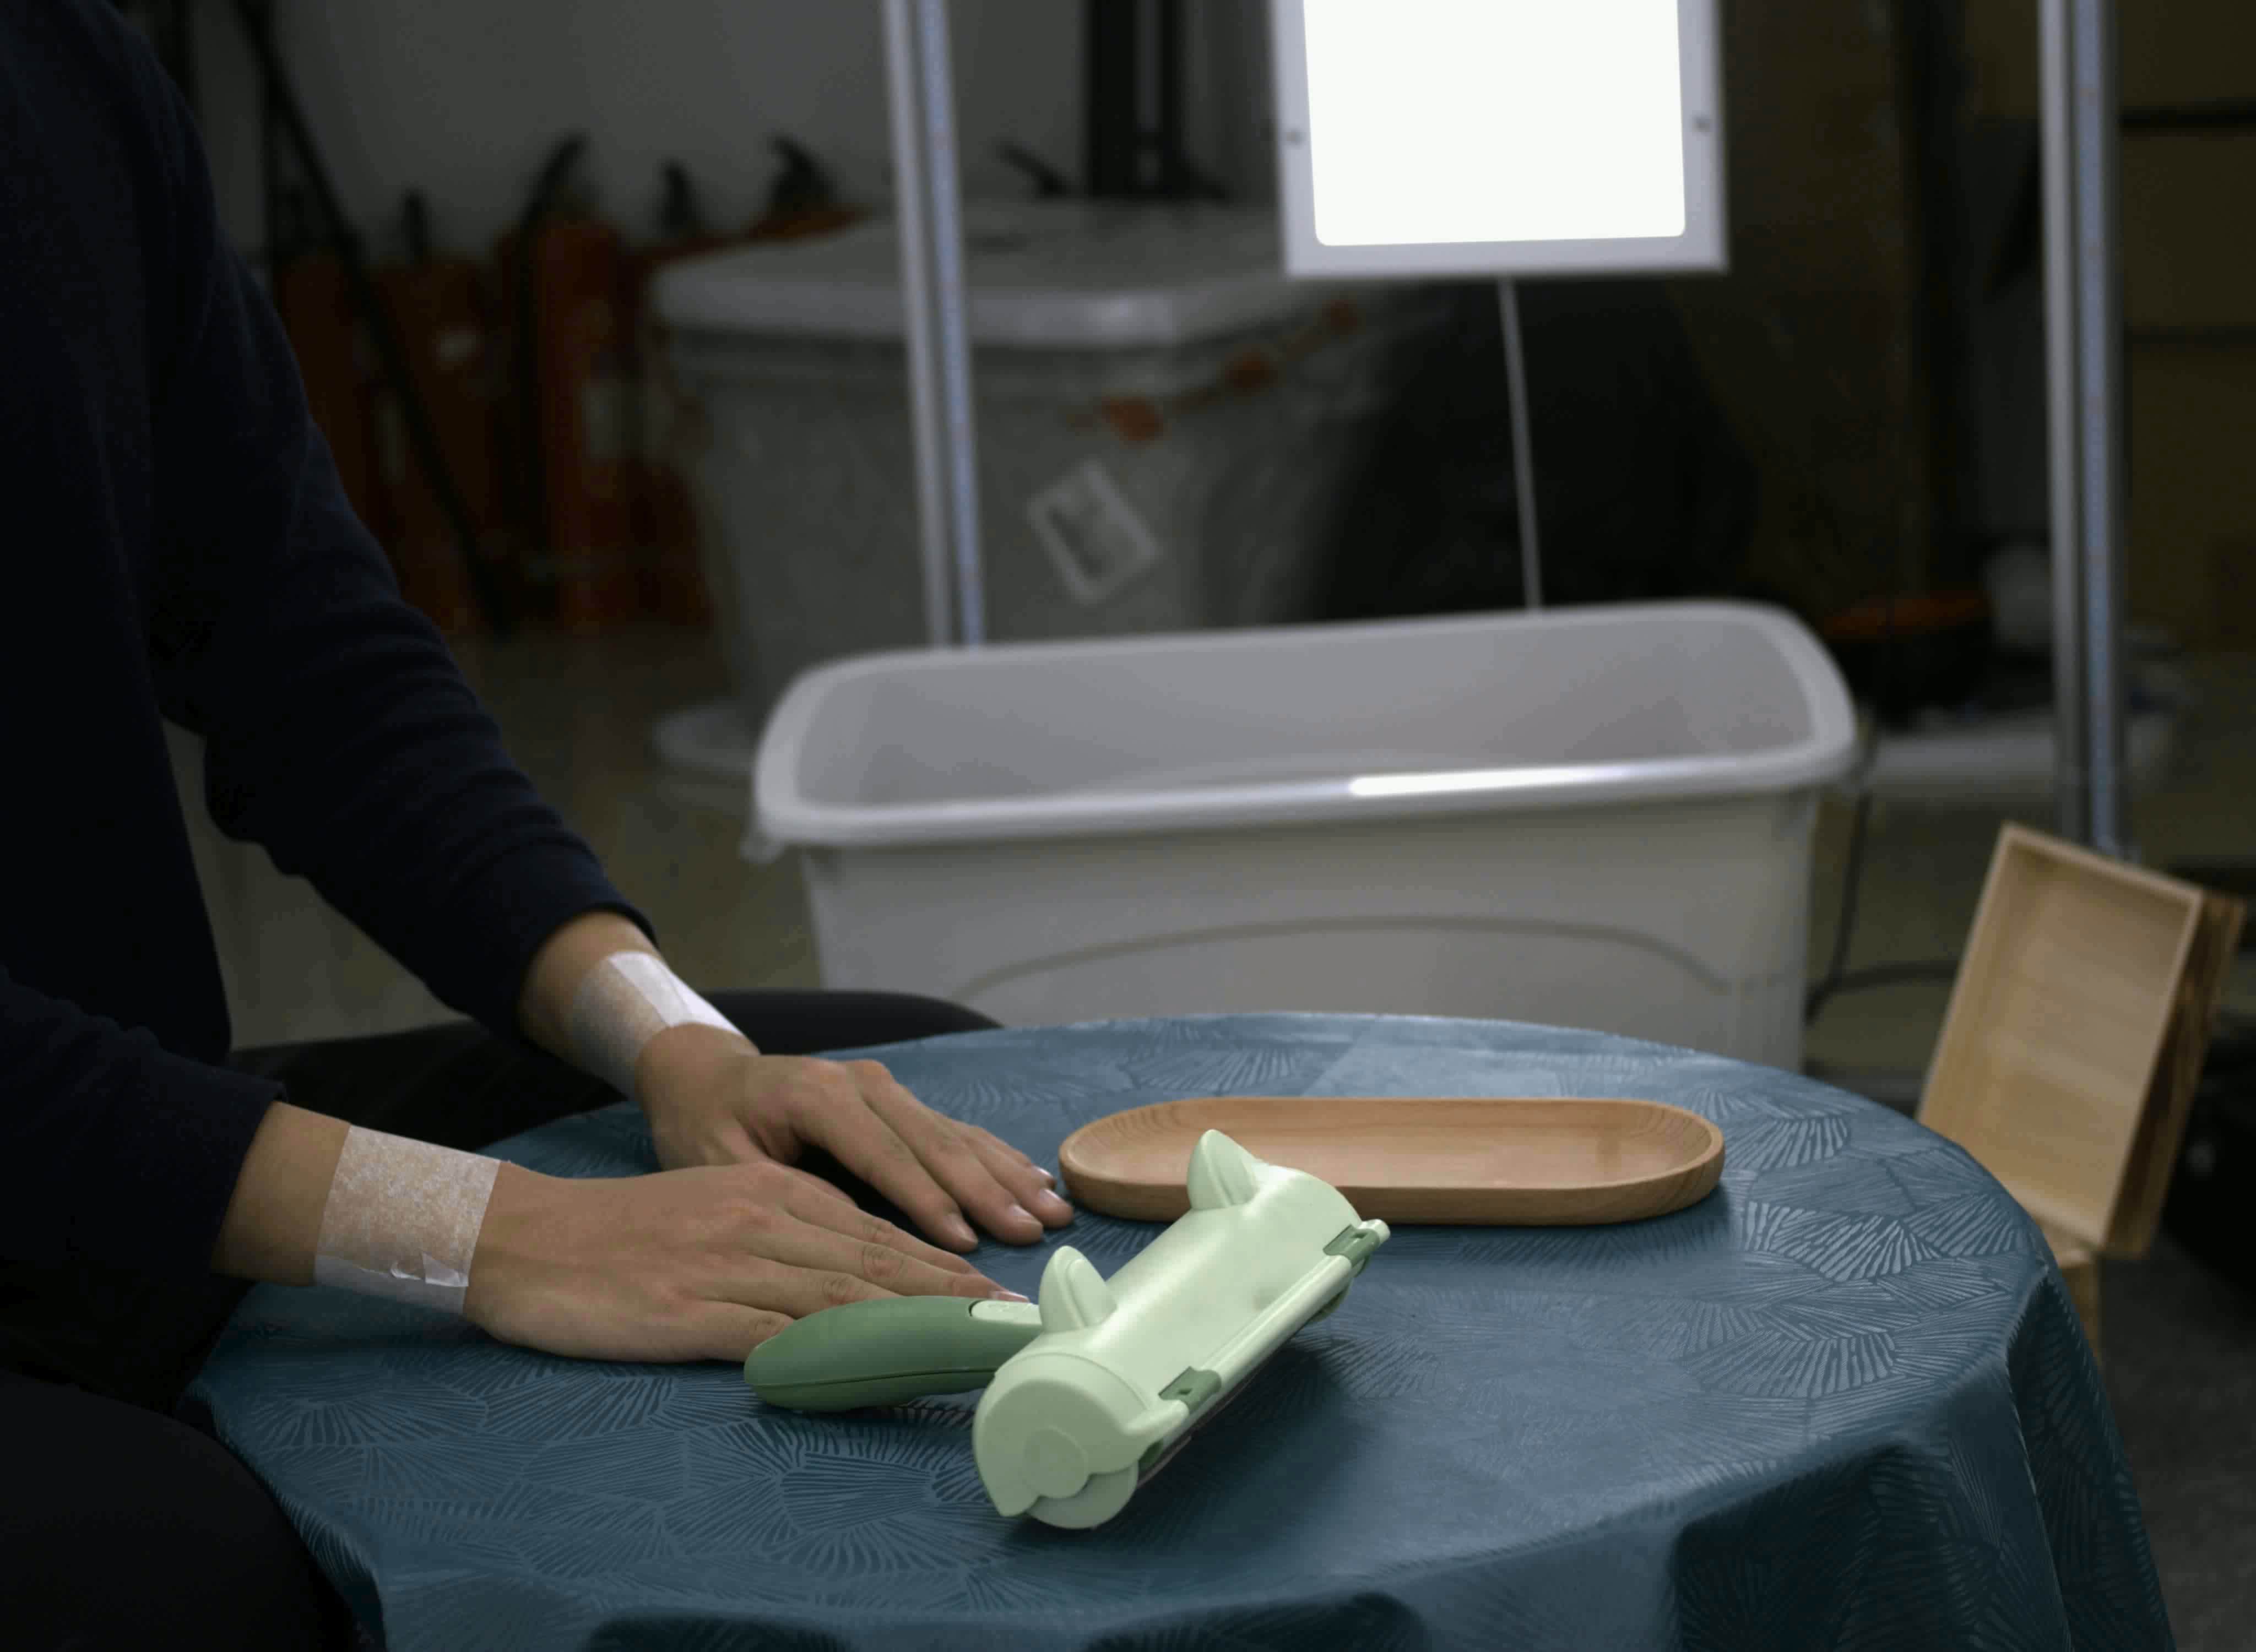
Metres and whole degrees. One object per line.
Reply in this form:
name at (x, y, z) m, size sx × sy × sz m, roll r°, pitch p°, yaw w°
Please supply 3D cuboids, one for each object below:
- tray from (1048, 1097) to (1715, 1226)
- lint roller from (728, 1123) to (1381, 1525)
tray at (0.086, 0.115, 1.878) m, size 0.233 × 0.020 × 0.100 m, roll -3°, pitch 13°, yaw 17°
lint roller at (-0.038, 0.140, 1.673) m, size 0.186 × 0.082 × 0.195 m, roll 7°, pitch 17°, yaw 22°
